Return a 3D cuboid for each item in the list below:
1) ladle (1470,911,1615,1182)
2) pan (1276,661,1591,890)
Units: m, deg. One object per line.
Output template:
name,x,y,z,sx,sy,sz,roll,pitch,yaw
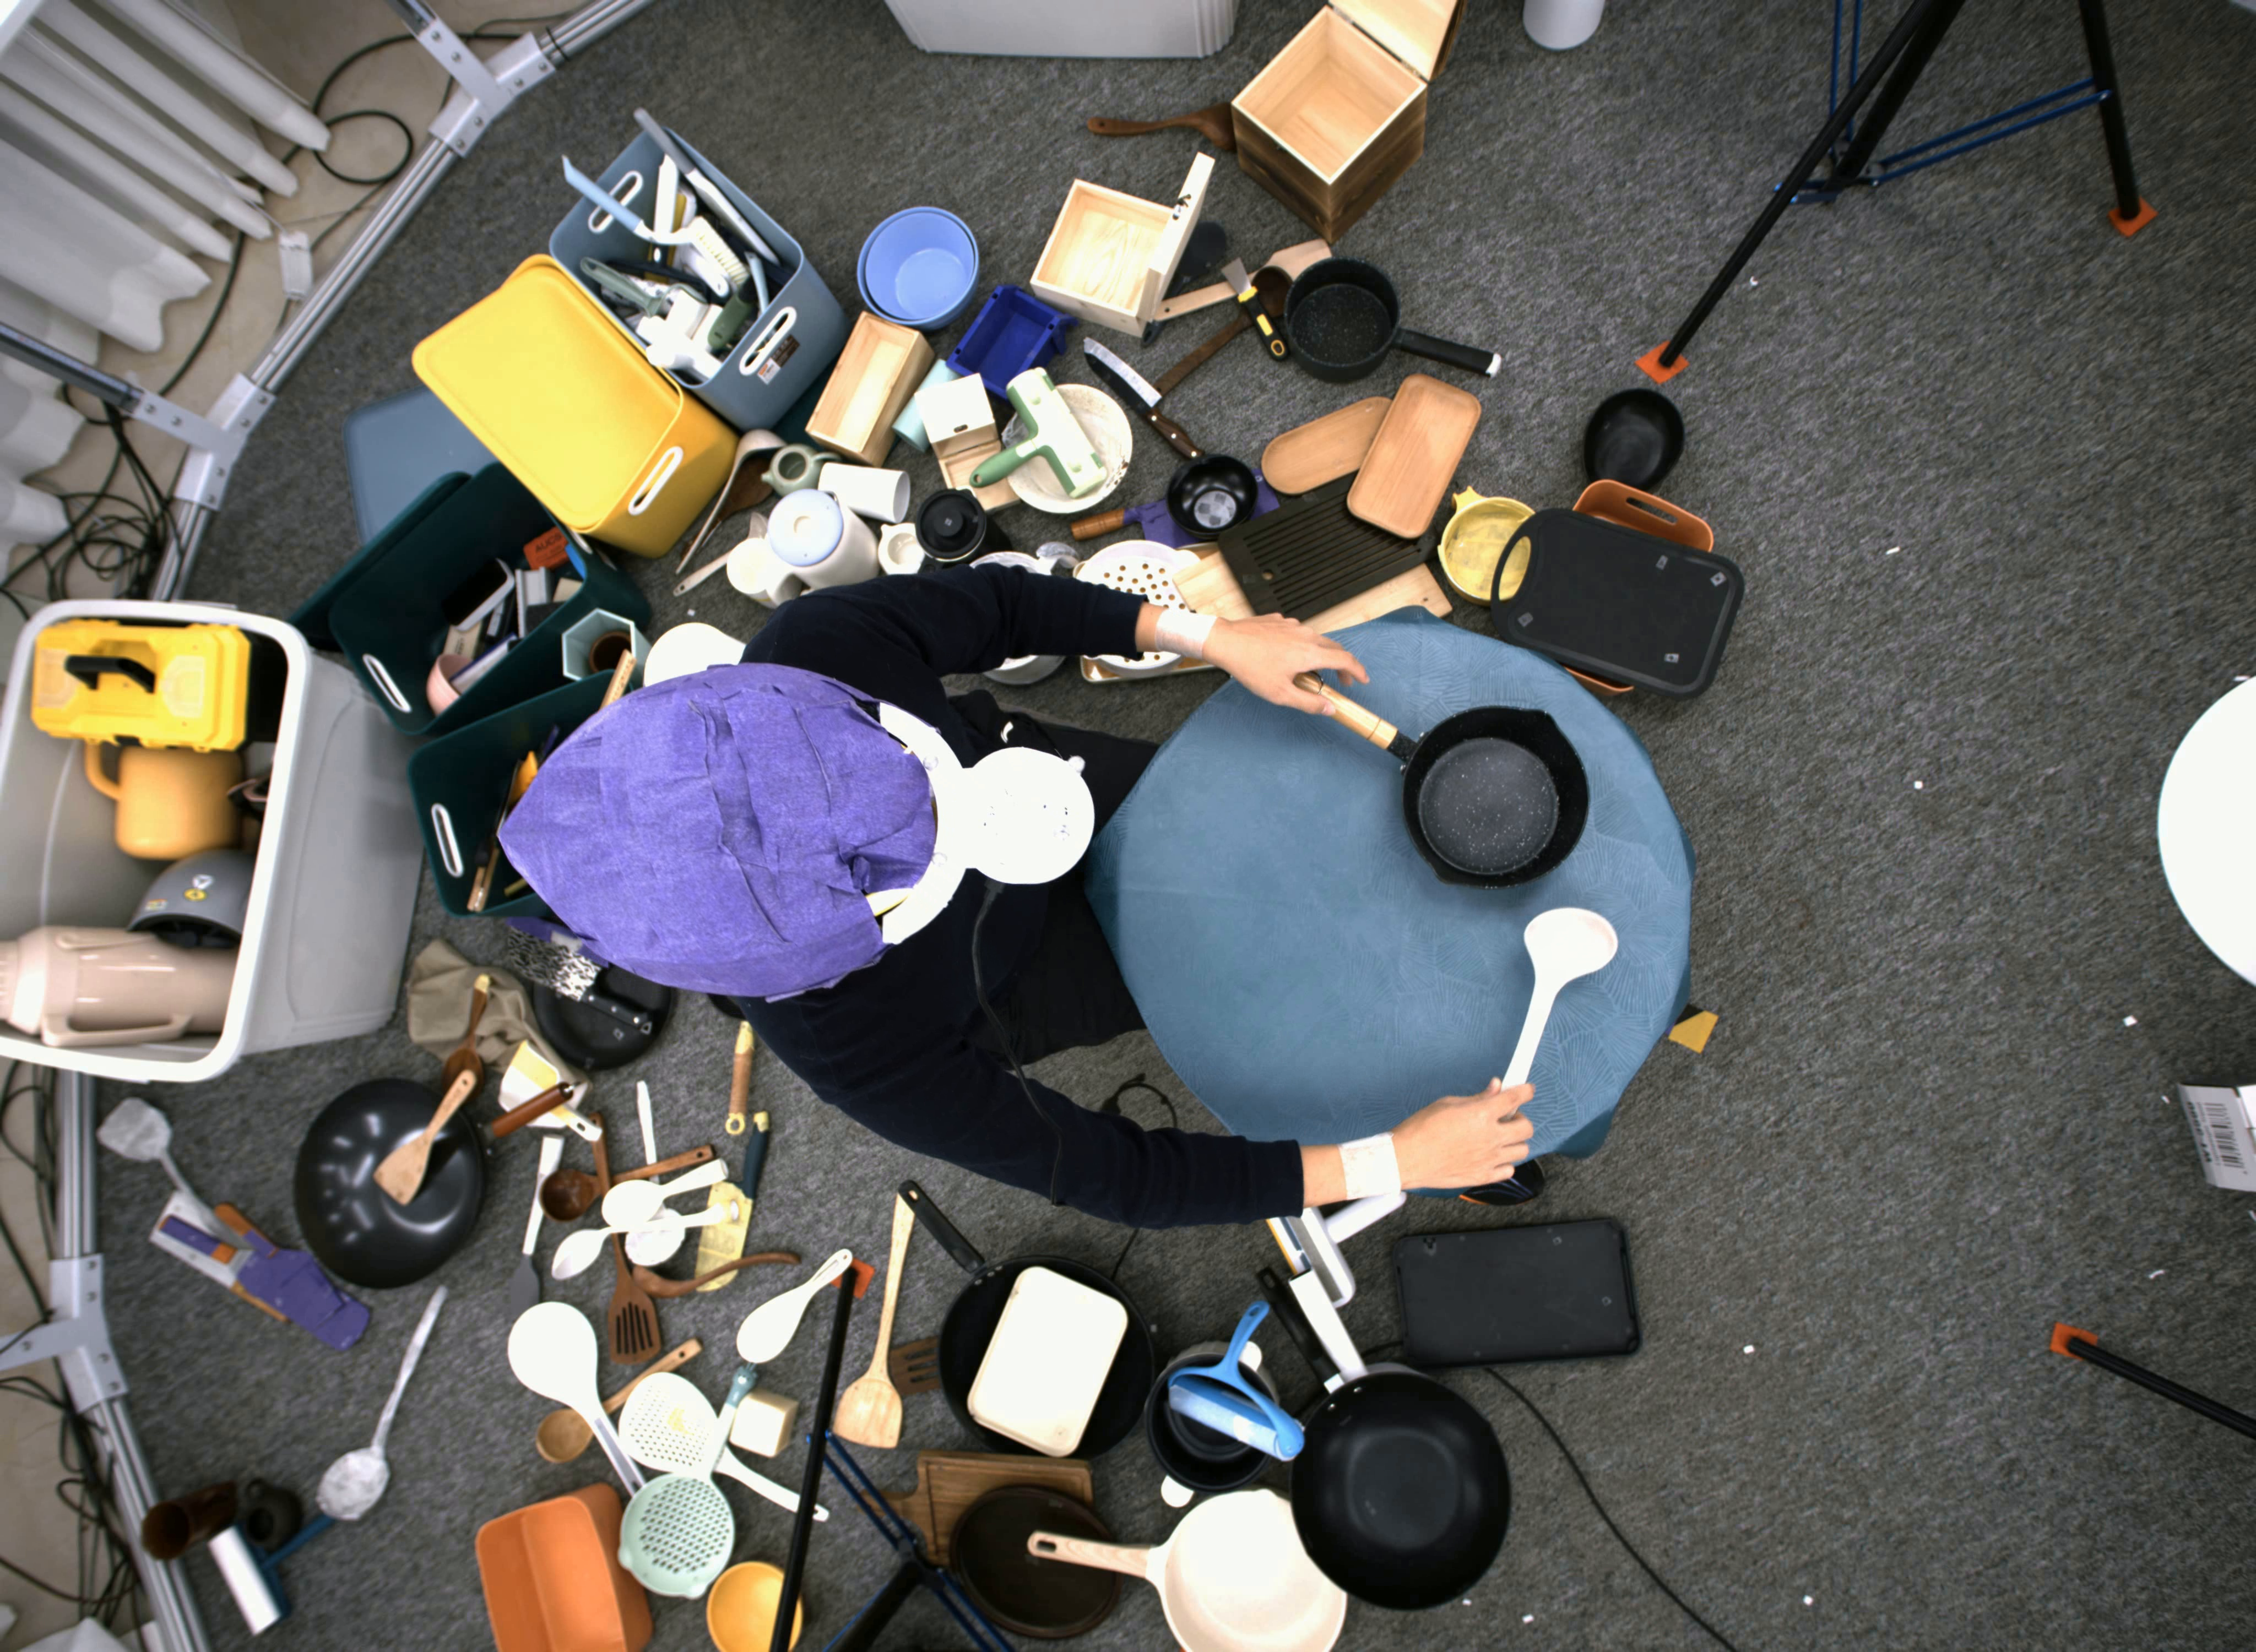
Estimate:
ladle,0.391,0.211,1.325,0.089,0.070,0.272,23,81,-7
pan,0.302,-0.067,1.407,0.342,0.108,0.208,30,93,9
